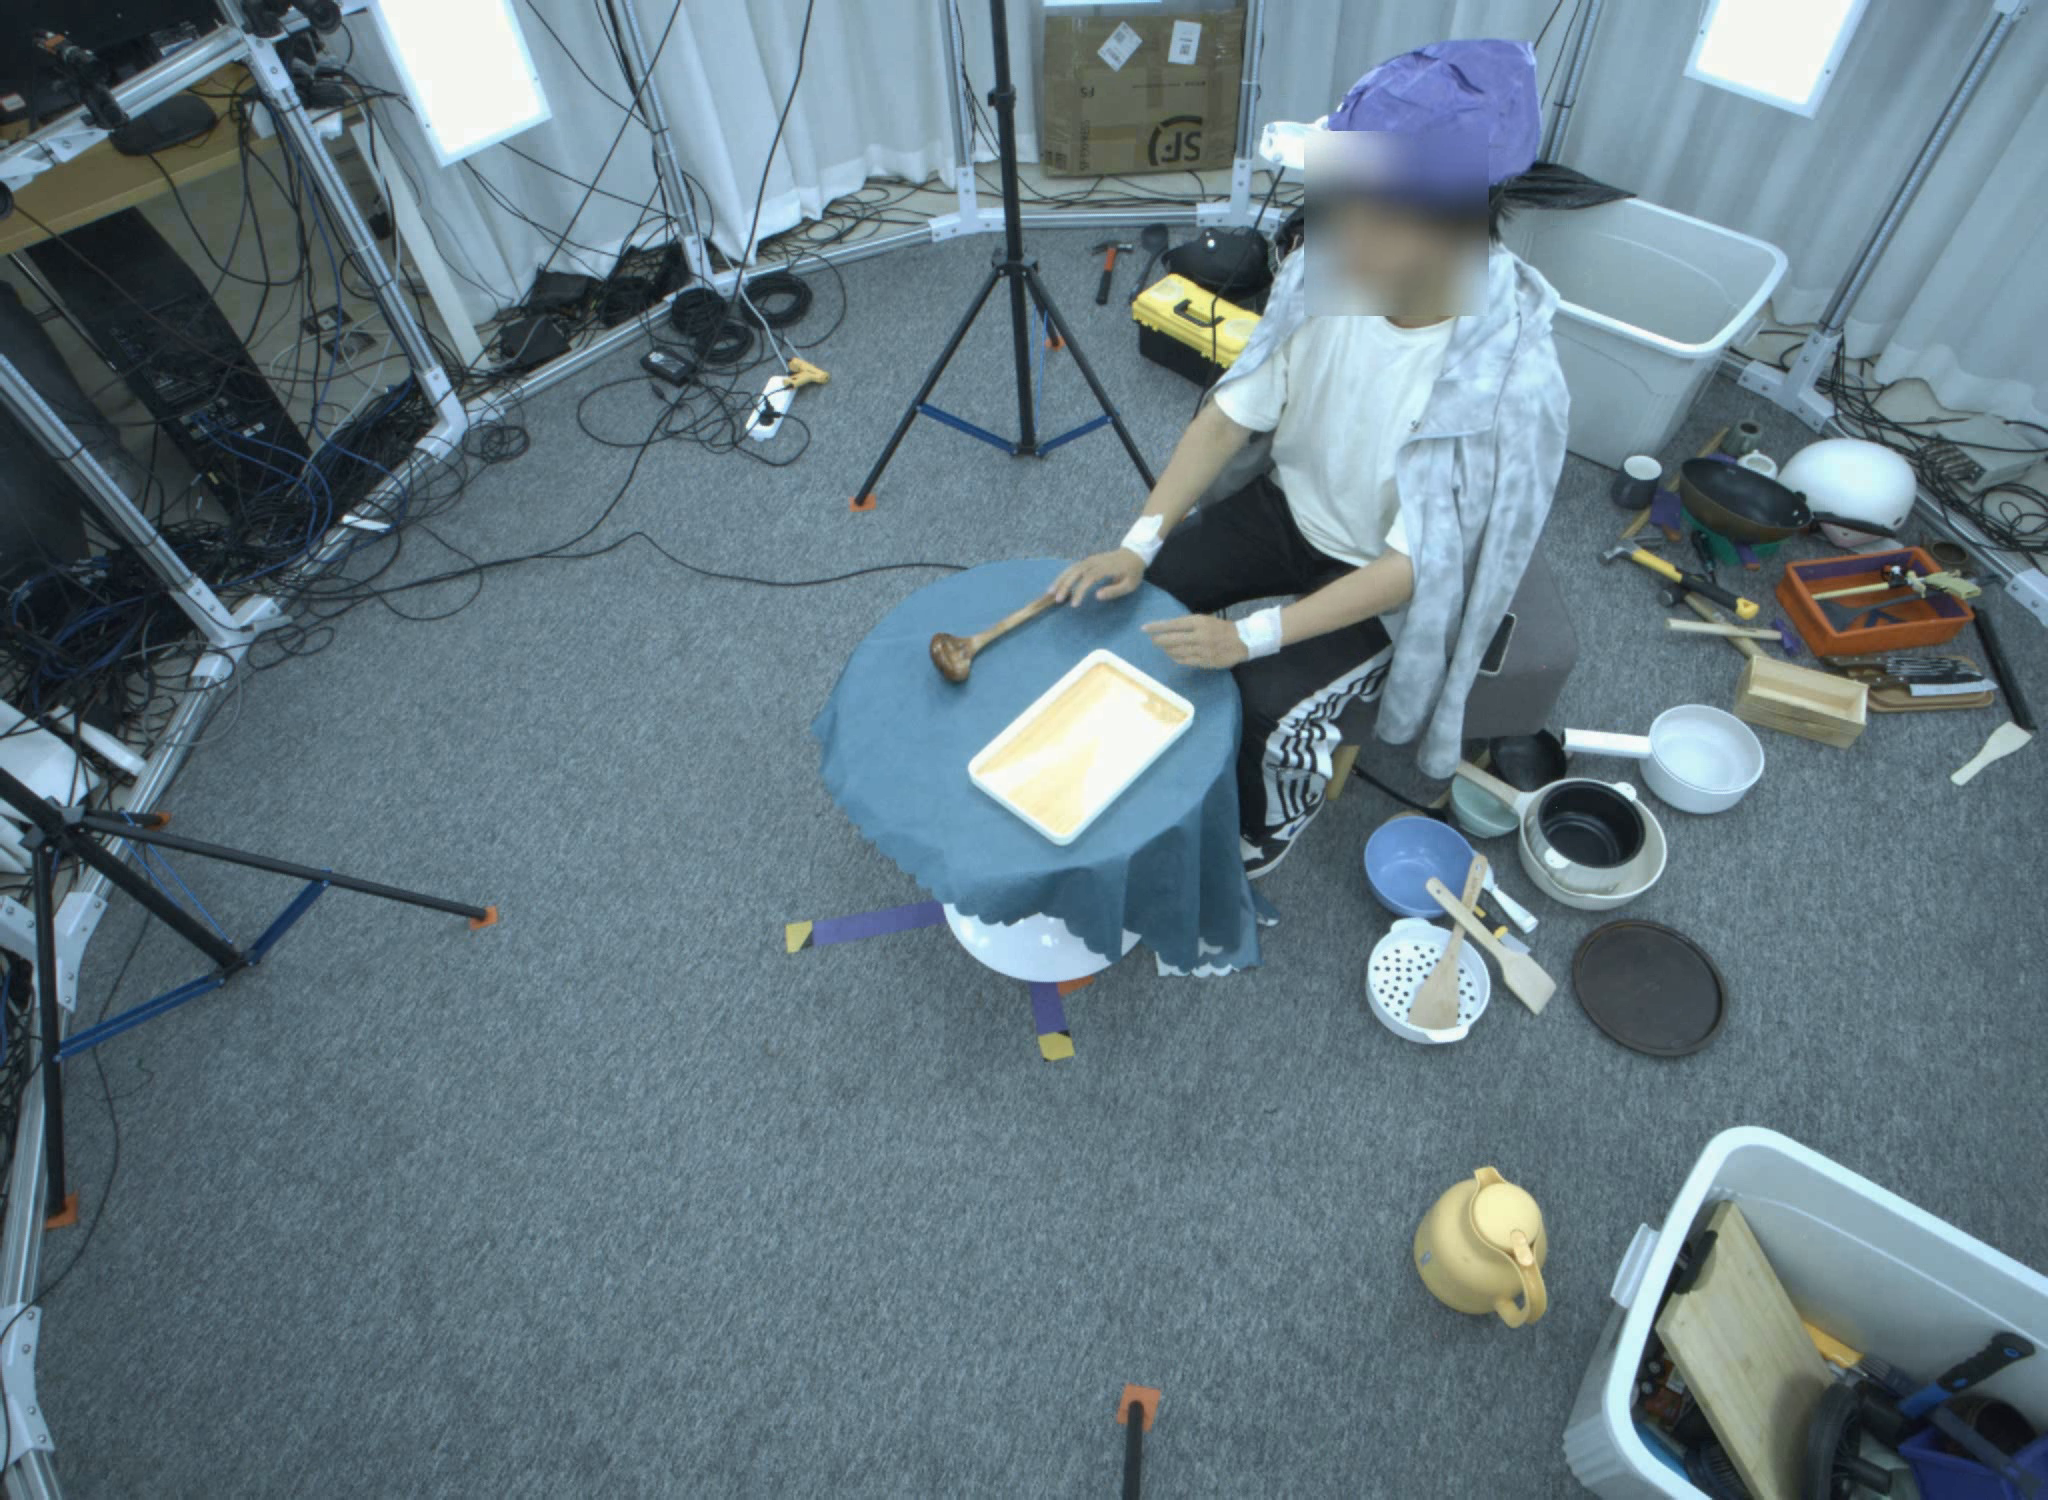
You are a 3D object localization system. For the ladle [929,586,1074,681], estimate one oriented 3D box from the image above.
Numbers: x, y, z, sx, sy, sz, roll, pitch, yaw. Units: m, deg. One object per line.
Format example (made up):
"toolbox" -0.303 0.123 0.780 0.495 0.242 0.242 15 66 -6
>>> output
"ladle" -0.027 -0.193 1.884 0.276 0.075 0.082 -30 100 -20

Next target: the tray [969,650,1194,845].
"tray" 0.085 -0.010 1.777 0.188 0.028 0.302 36 63 24
